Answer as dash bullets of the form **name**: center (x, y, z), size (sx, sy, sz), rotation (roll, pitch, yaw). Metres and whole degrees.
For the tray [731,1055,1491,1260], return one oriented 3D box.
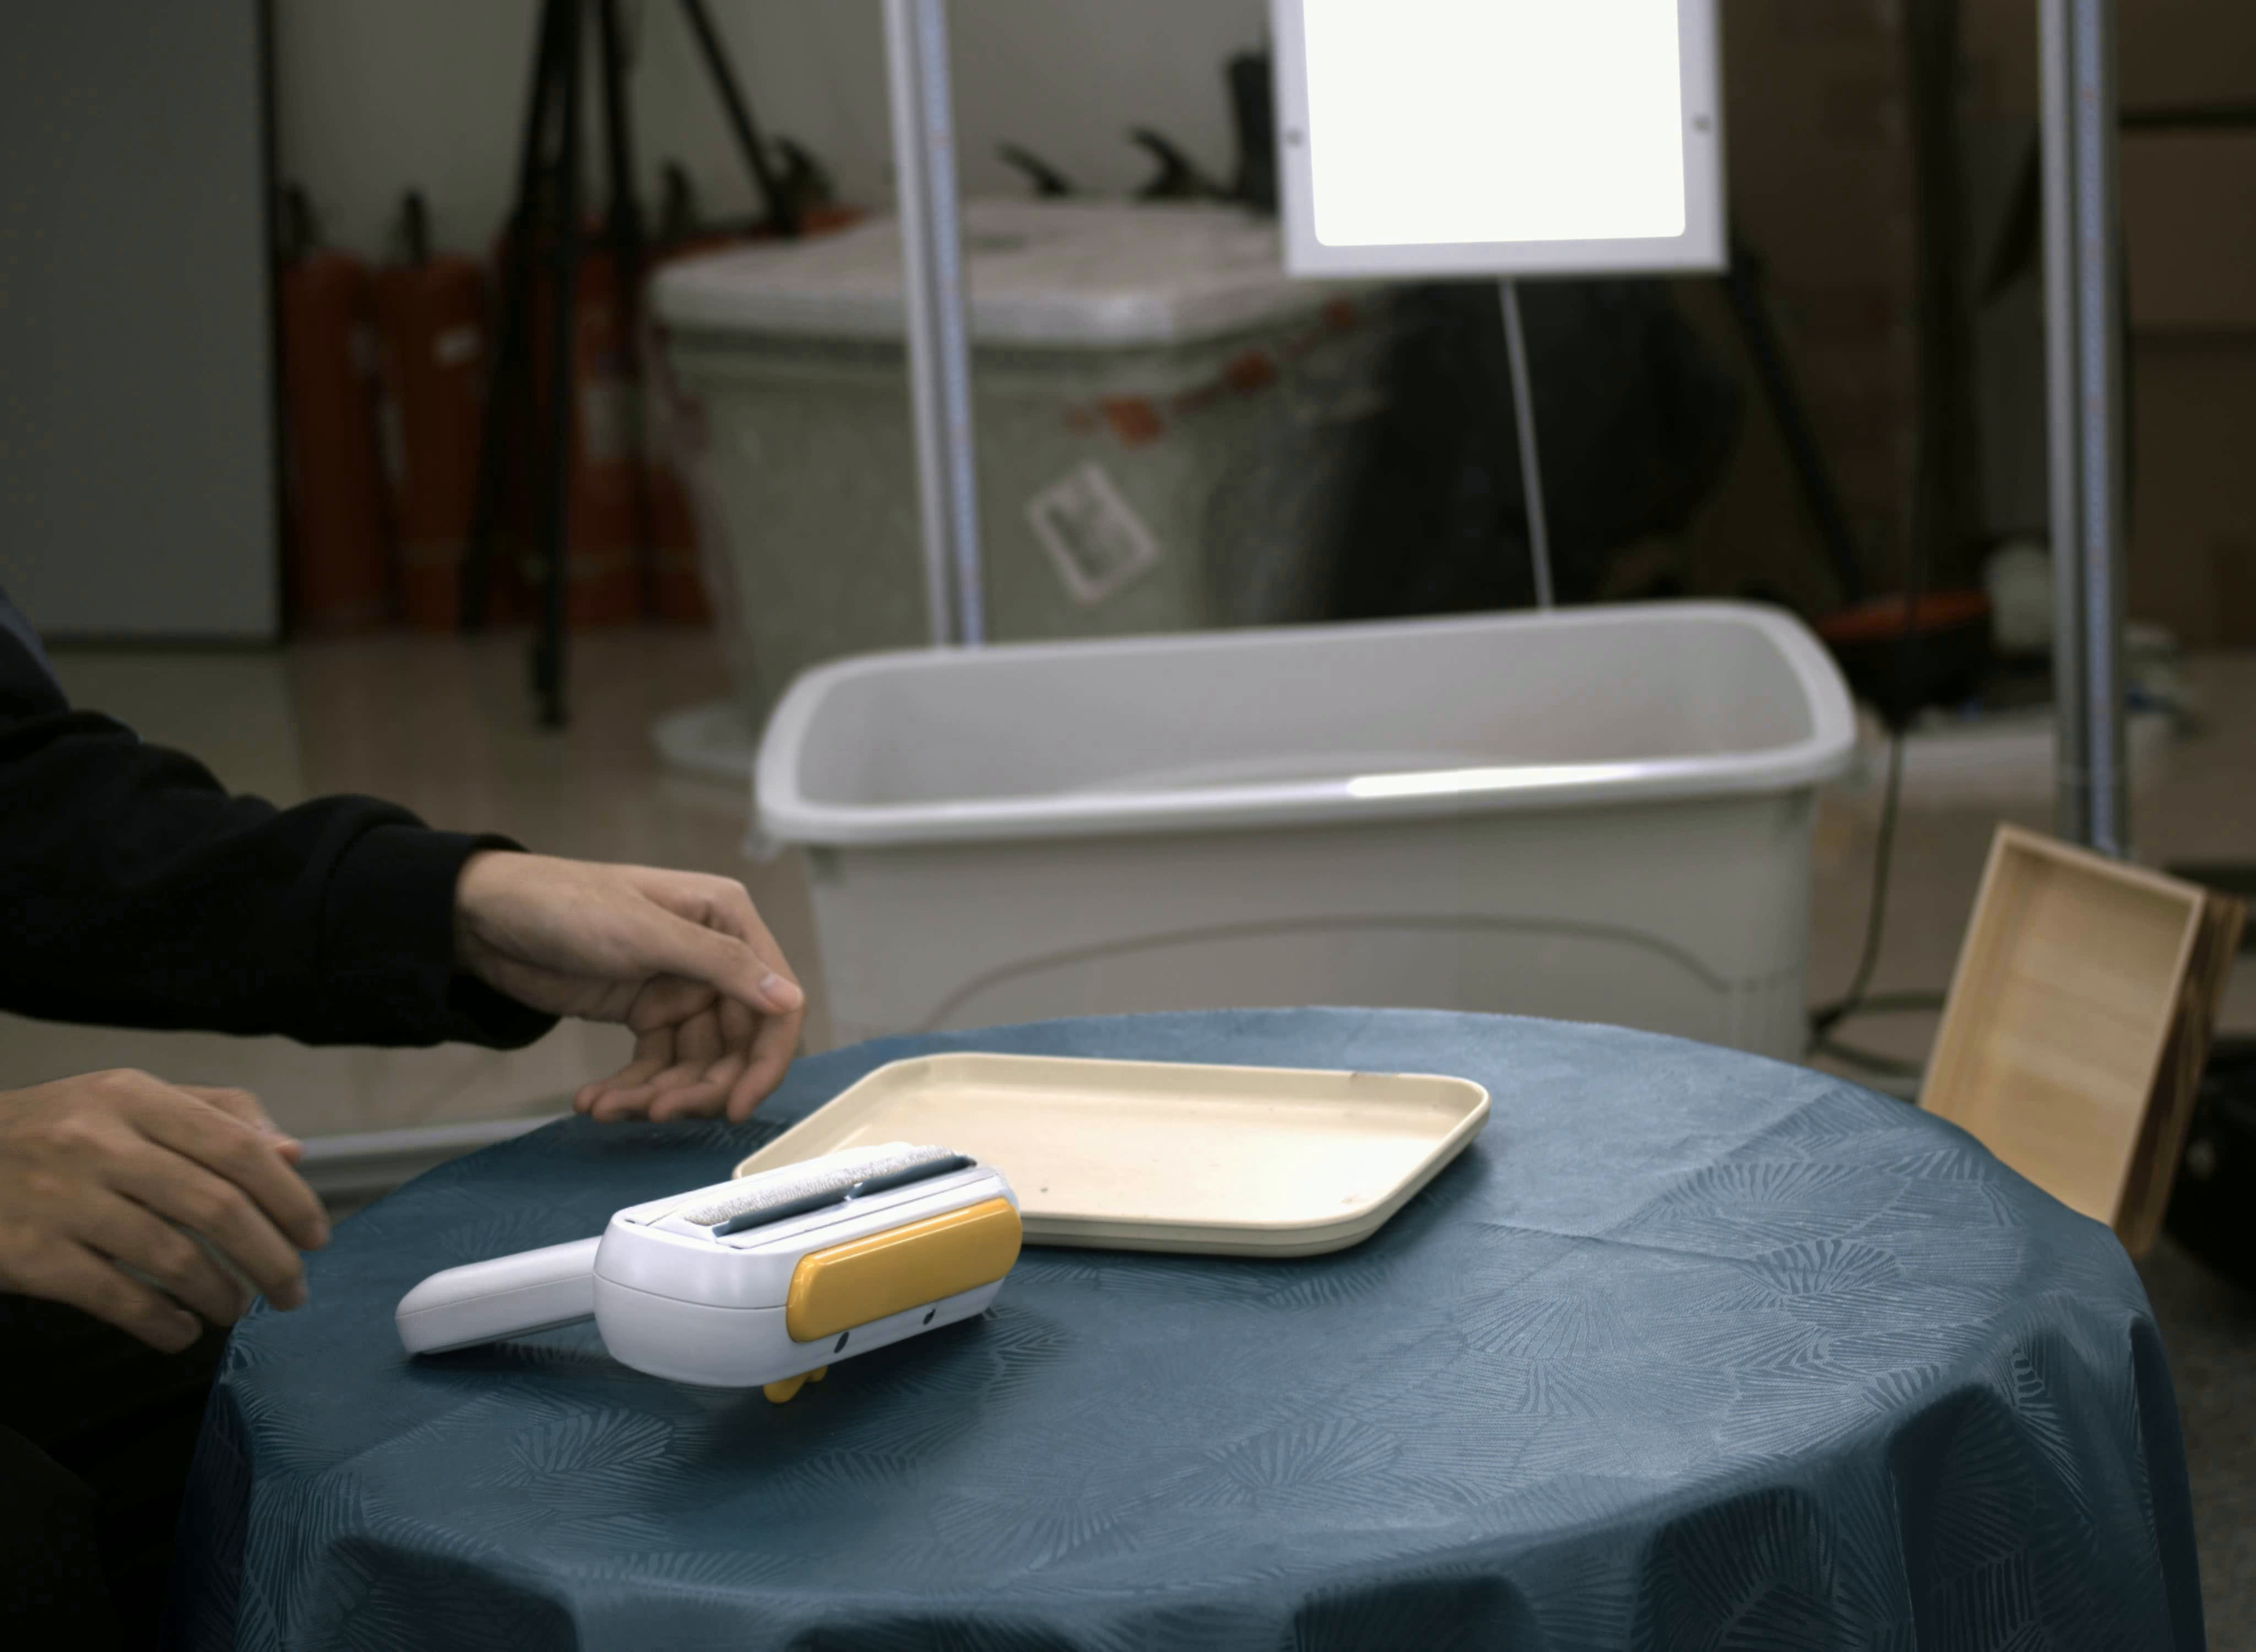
- **tray**: center (-0.004, 0.115, 1.909), size (0.243, 0.017, 0.168), rotation (1, 16, 25)

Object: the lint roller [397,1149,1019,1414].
- **lint roller**: center (-0.152, 0.142, 1.746), size (0.196, 0.074, 0.188), rotation (1, 10, 32)
